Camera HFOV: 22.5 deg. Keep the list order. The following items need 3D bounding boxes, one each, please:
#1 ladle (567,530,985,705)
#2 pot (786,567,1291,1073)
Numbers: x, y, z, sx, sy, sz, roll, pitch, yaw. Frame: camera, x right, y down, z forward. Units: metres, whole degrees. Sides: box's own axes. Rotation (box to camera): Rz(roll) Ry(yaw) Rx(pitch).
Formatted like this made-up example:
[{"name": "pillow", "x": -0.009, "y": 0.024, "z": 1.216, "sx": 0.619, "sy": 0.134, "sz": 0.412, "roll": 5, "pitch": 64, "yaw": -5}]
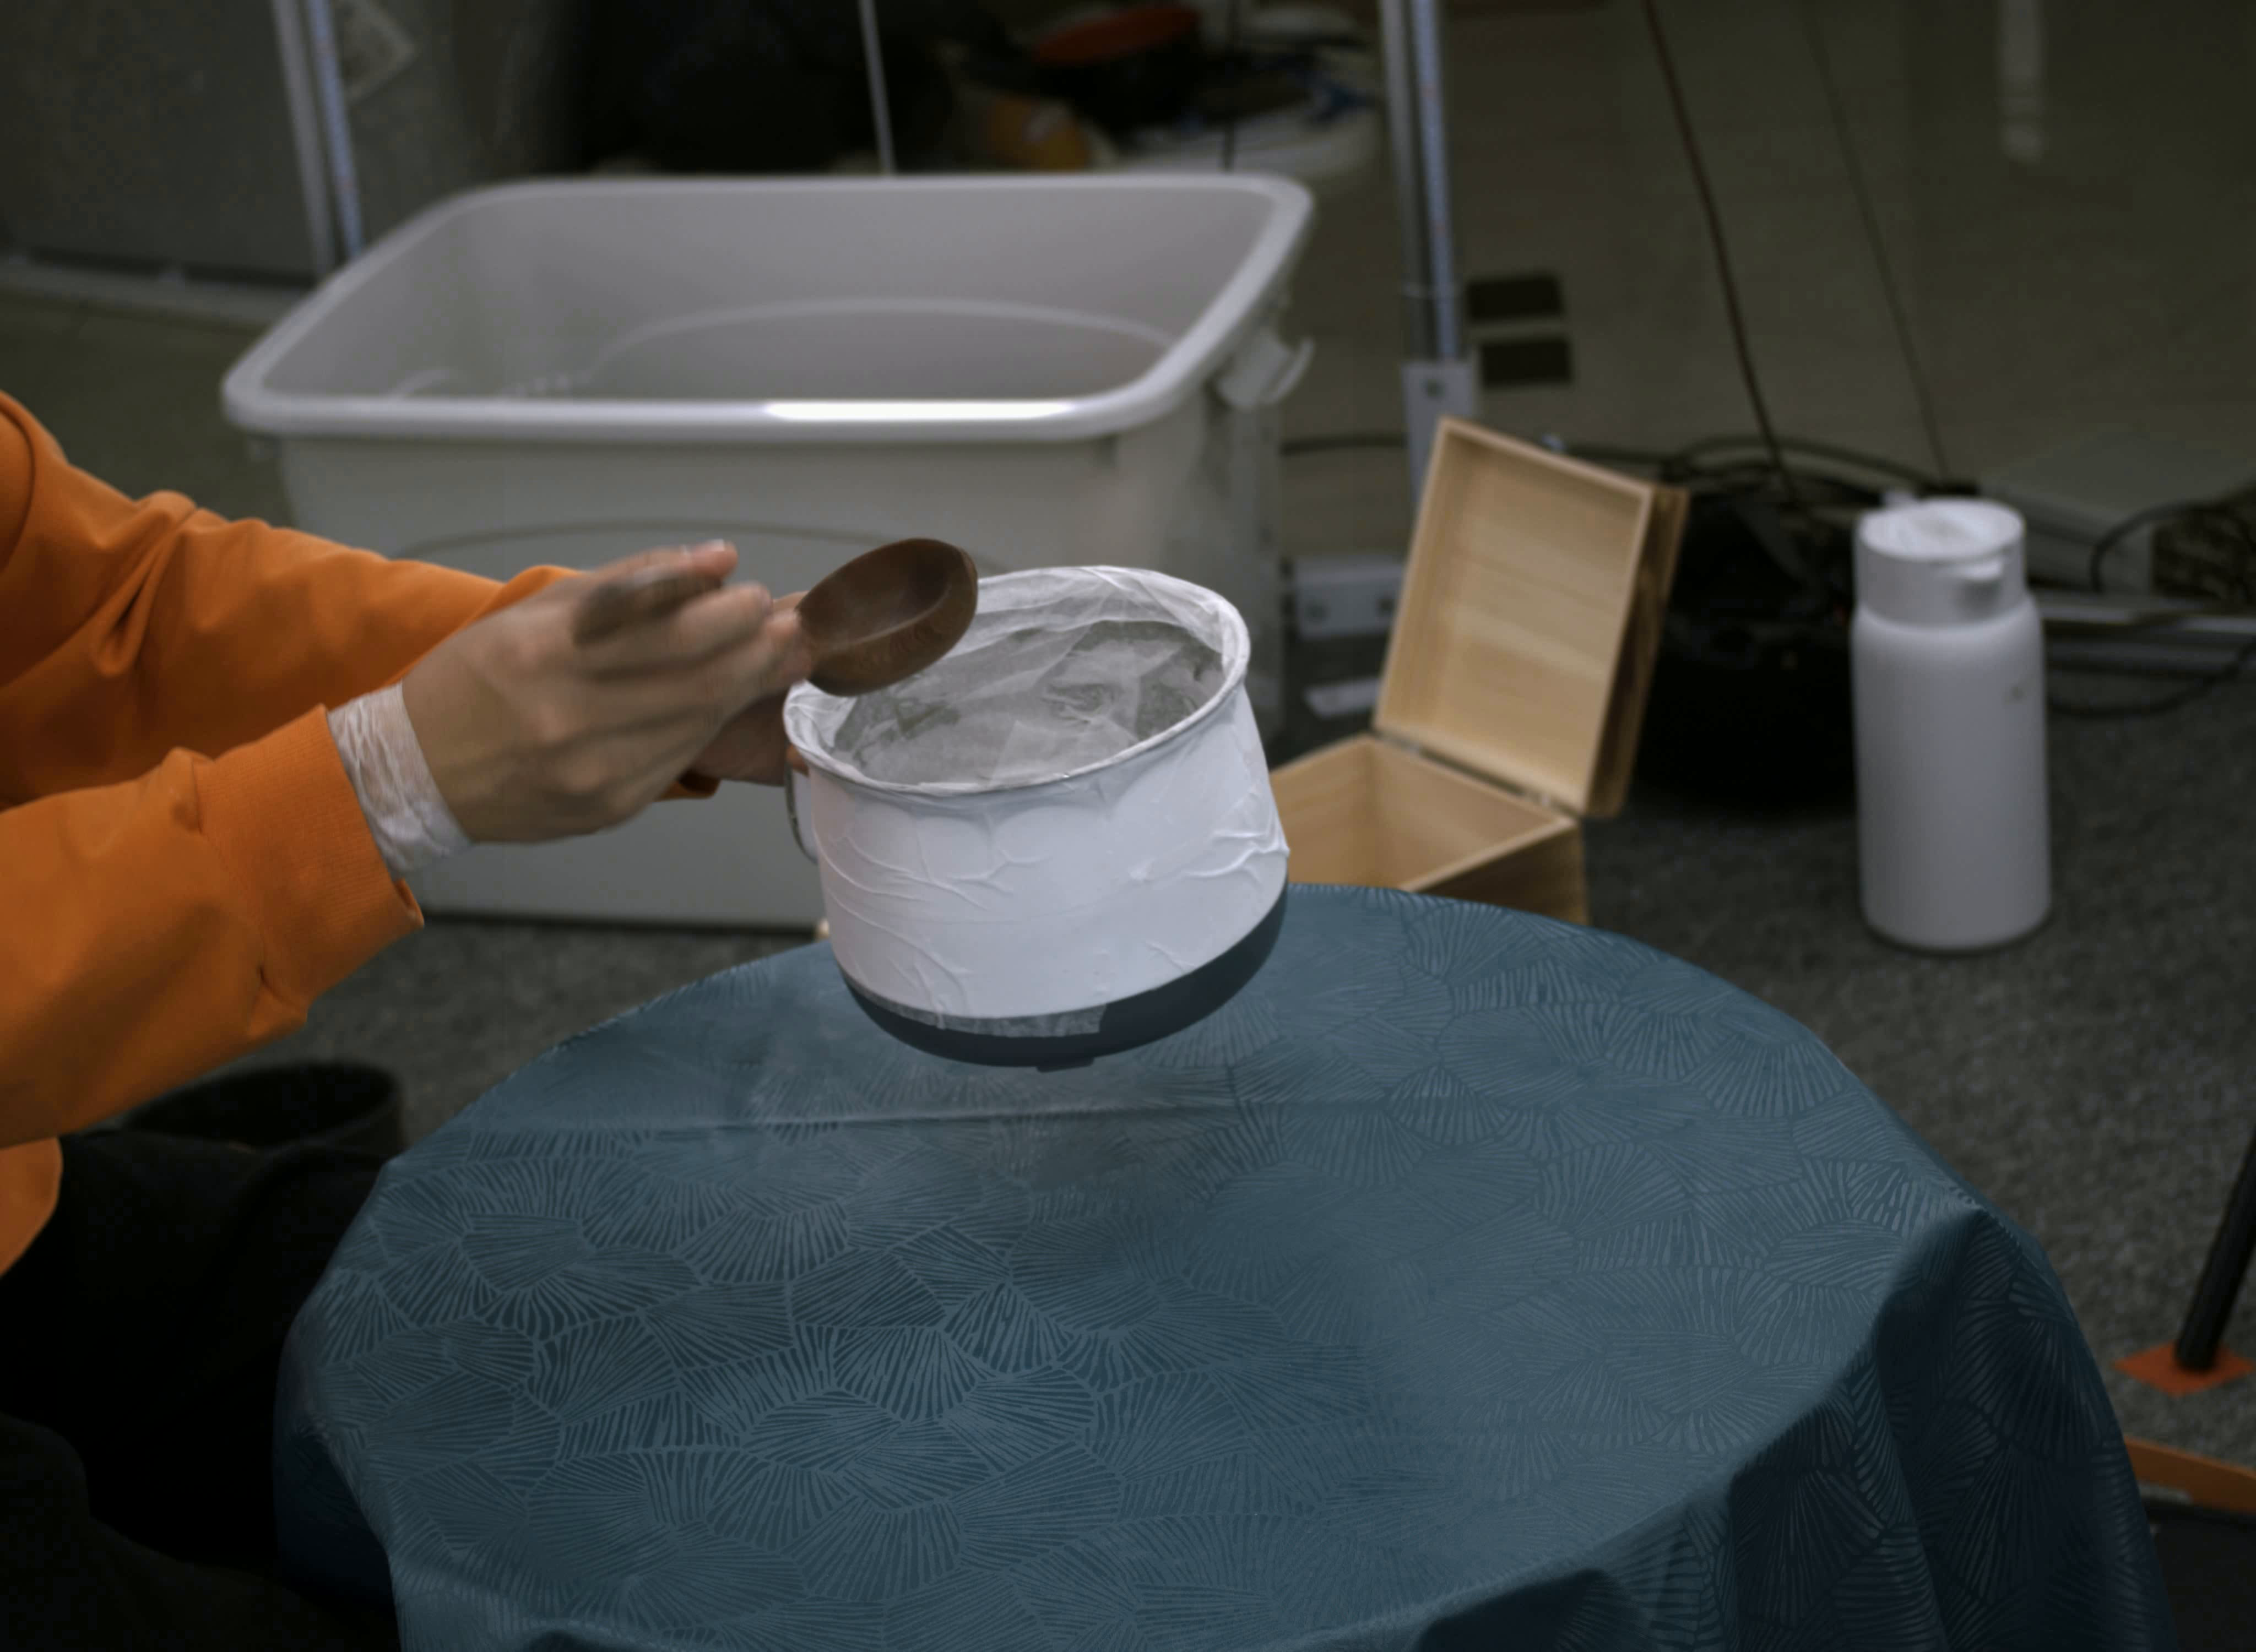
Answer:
[{"name": "ladle", "x": -0.127, "y": -0.078, "z": 1.936, "sx": 0.077, "sy": 0.065, "sz": 0.260, "roll": -19, "pitch": -10, "yaw": 23}, {"name": "pot", "x": -0.050, "y": -0.008, "z": 2.156, "sx": 0.232, "sy": 0.139, "sz": 0.177, "roll": 20, "pitch": 40, "yaw": 42}]
